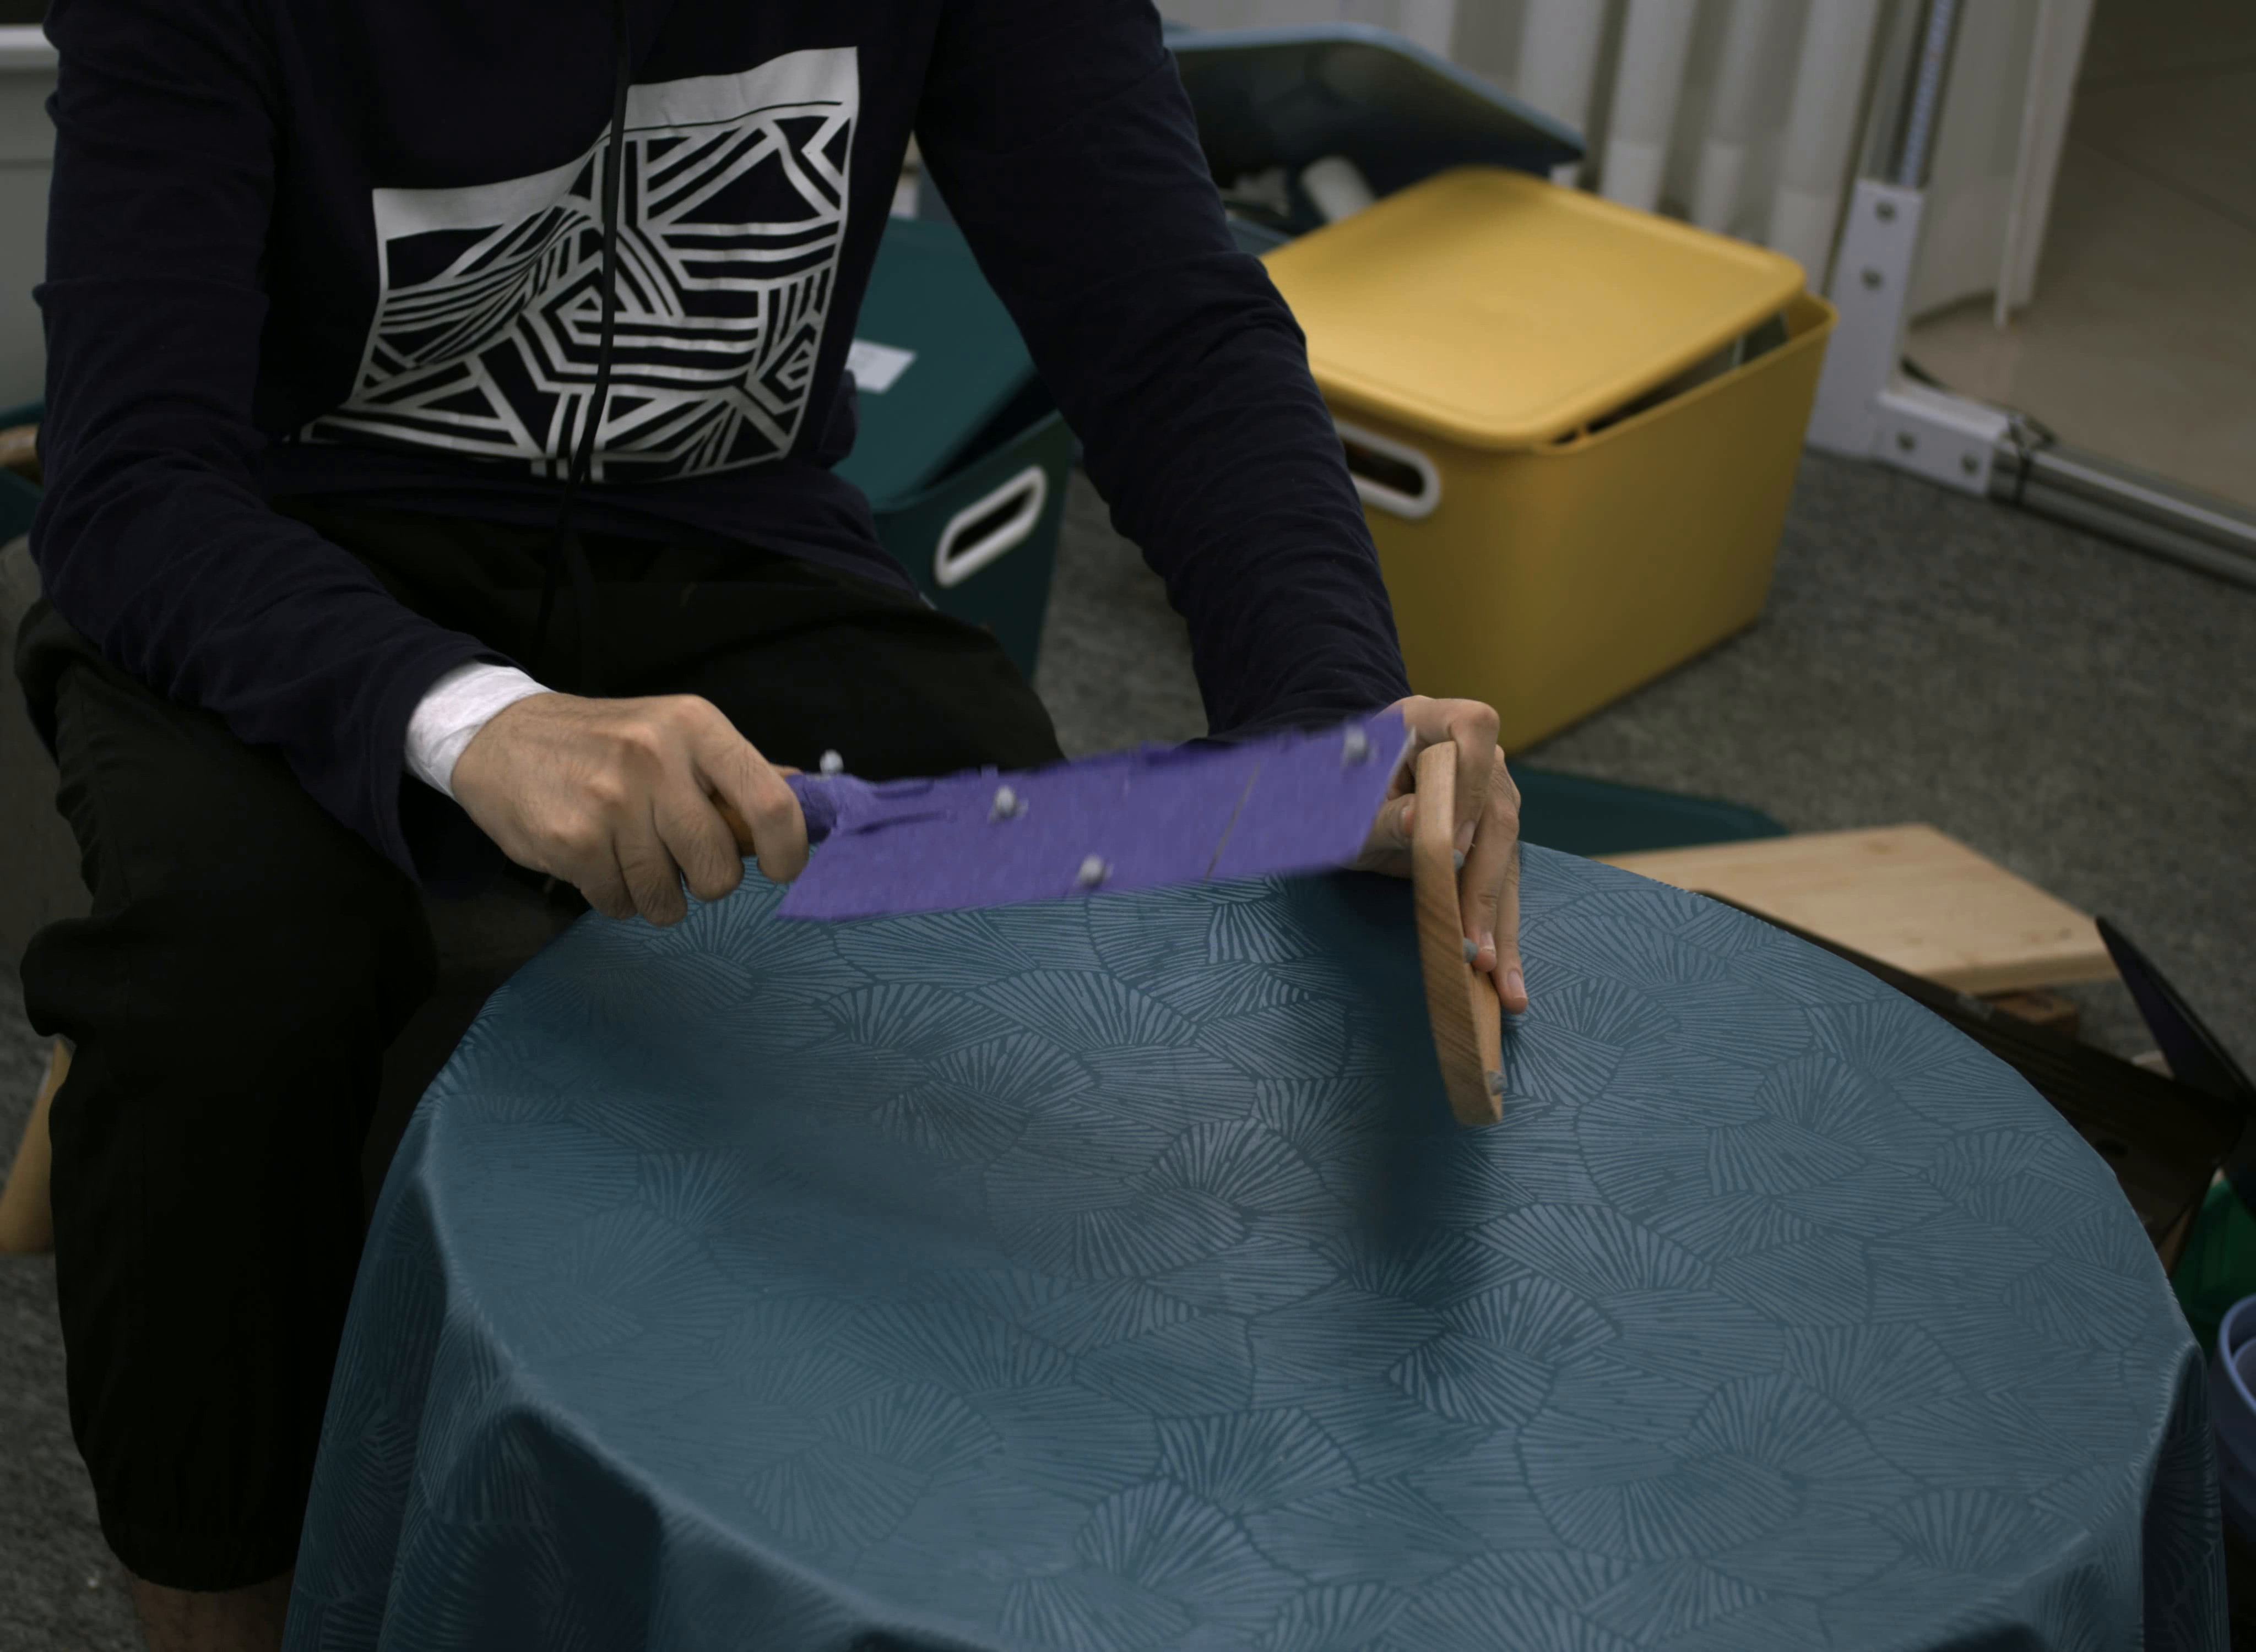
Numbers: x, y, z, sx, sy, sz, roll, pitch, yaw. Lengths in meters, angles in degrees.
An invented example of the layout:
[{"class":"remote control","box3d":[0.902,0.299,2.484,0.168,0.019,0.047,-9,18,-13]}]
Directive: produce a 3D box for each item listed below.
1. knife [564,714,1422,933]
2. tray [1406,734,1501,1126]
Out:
[{"class":"knife","box3d":[-0.059,0.004,1.772,0.316,0.032,0.104,-8,25,24]},{"class":"tray","box3d":[0.112,0.035,1.851,0.020,0.101,0.232,-10,14,5]}]
